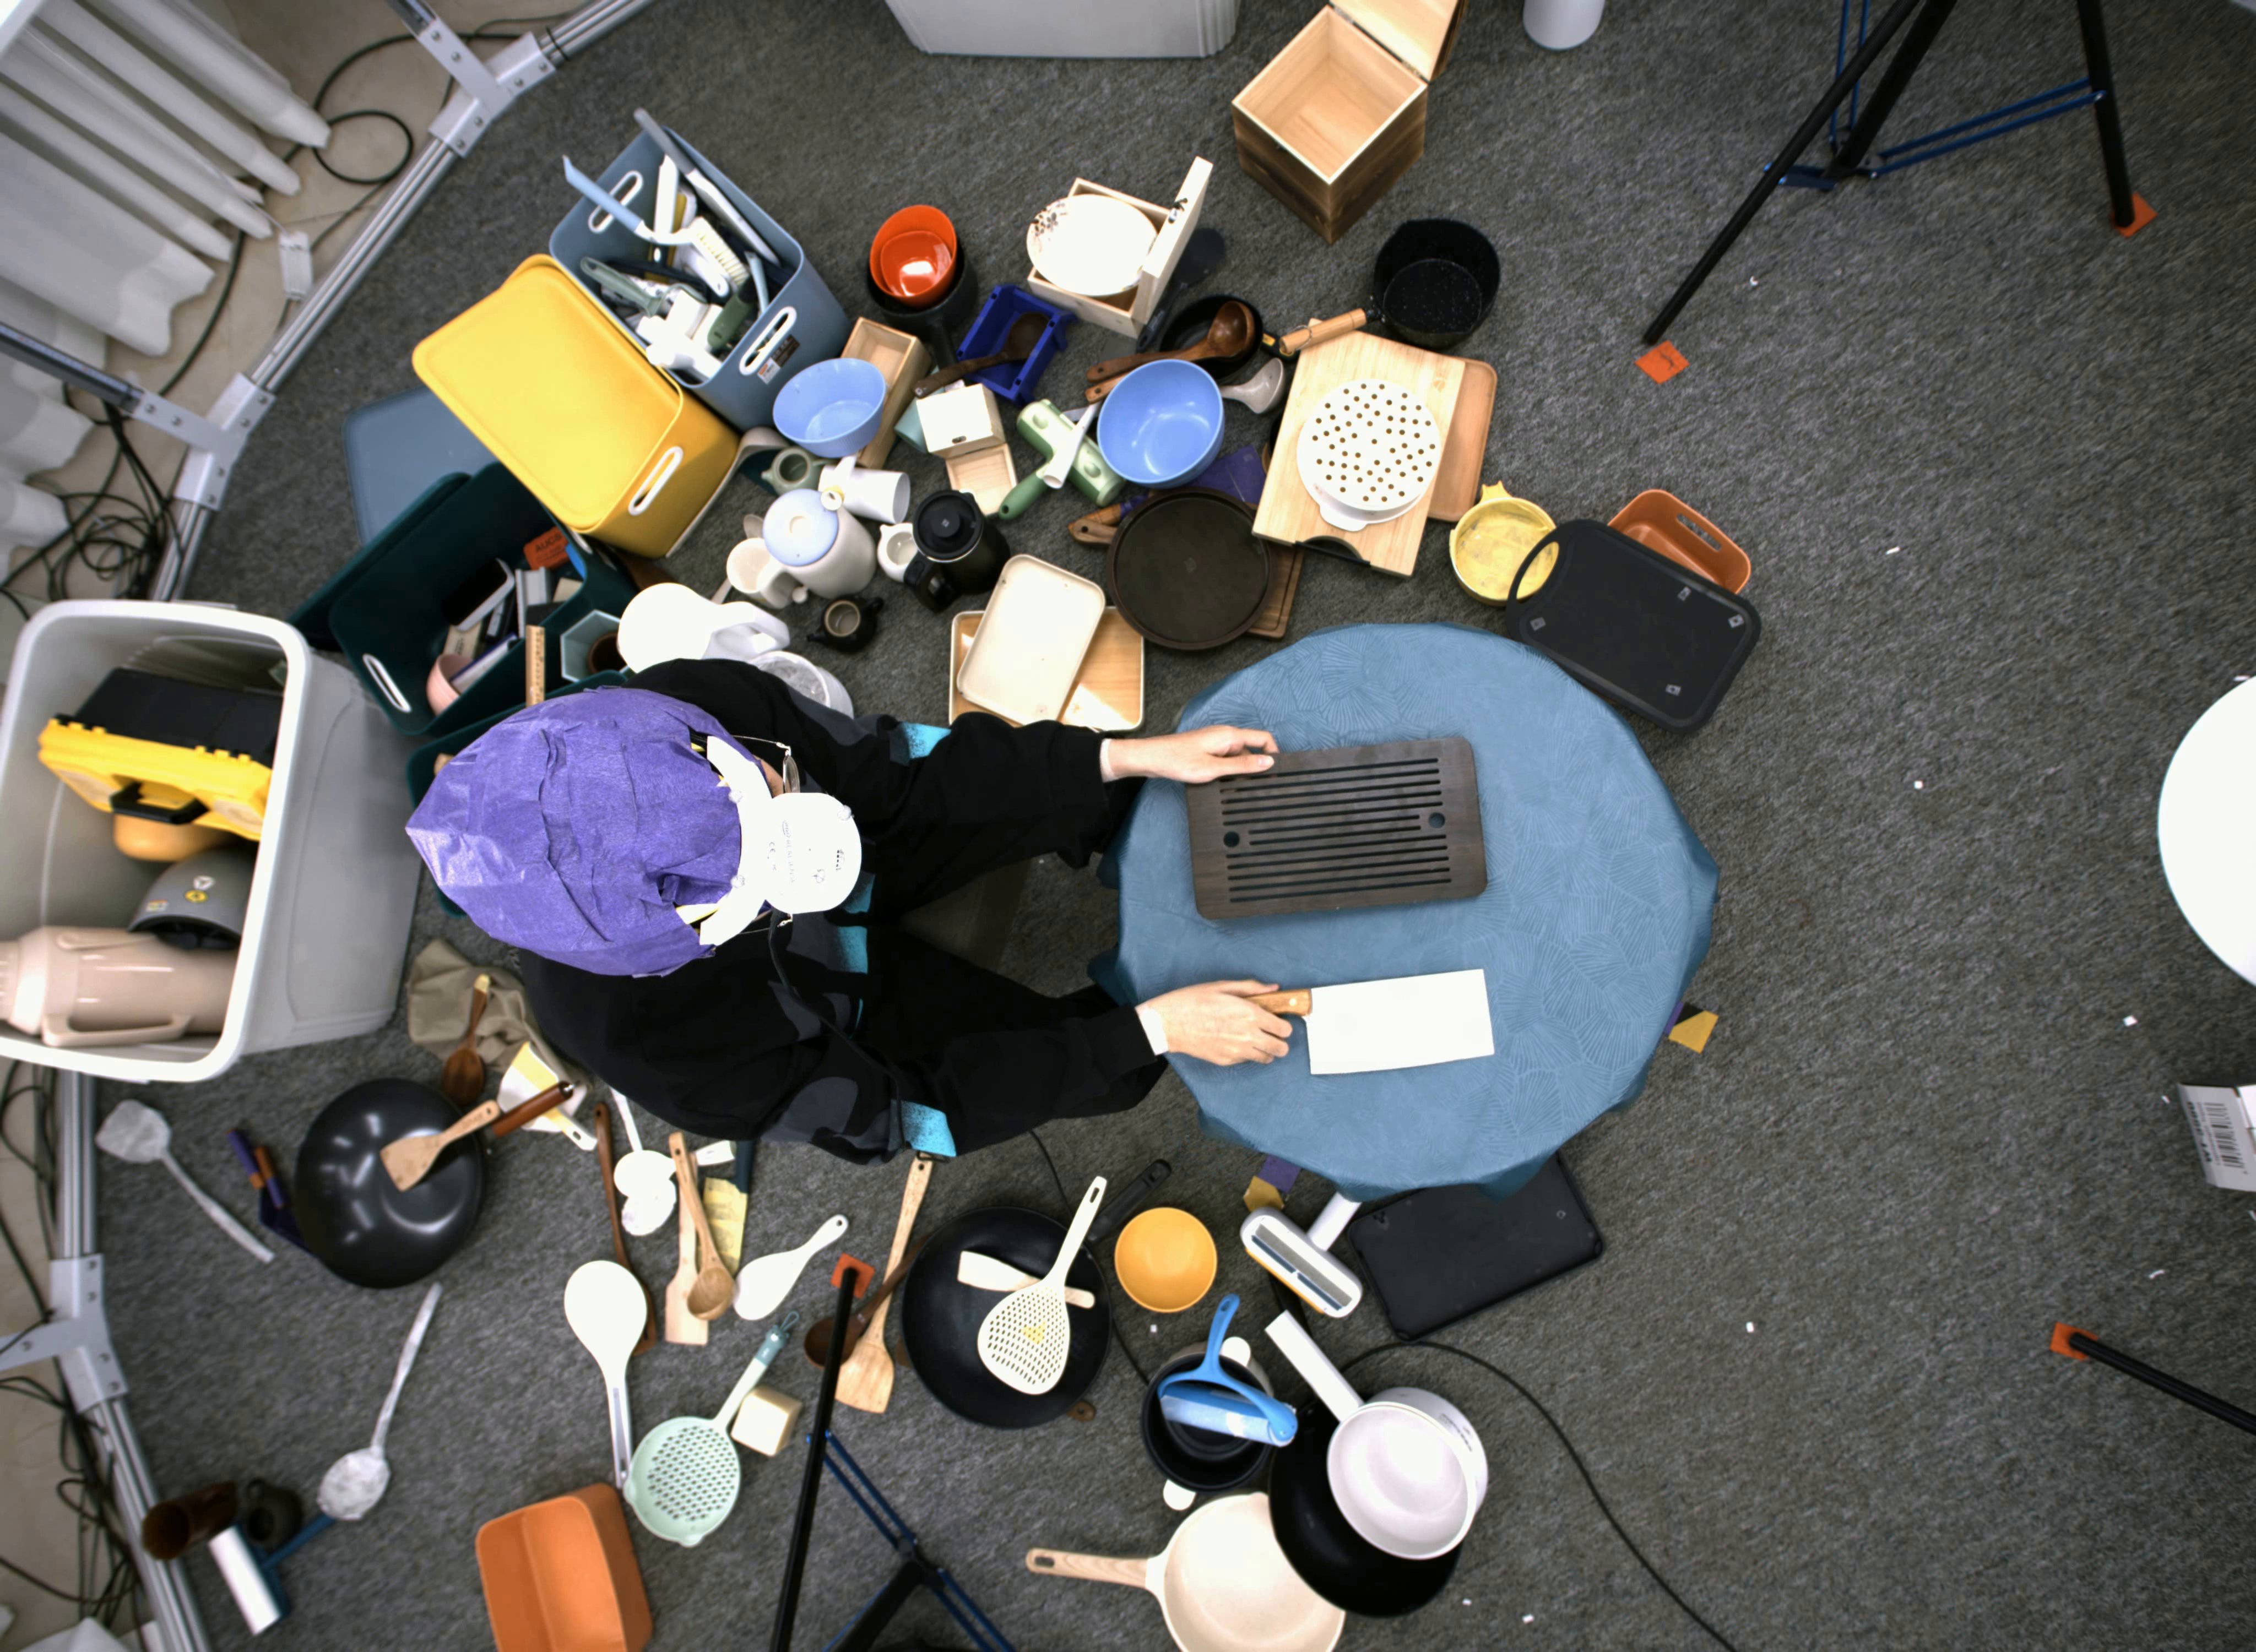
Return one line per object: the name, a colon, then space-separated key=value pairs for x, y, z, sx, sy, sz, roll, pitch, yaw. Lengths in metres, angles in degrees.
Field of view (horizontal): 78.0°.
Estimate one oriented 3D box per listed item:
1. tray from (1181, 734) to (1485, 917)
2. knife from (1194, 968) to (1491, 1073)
tray: x=0.214 y=-0.001 z=1.449 sx=0.307 sy=0.018 sz=0.169 roll=-5 pitch=87 yaw=4
knife: x=0.225 y=0.208 z=1.449 sx=0.307 sy=0.021 sz=0.092 roll=-7 pitch=87 yaw=6
